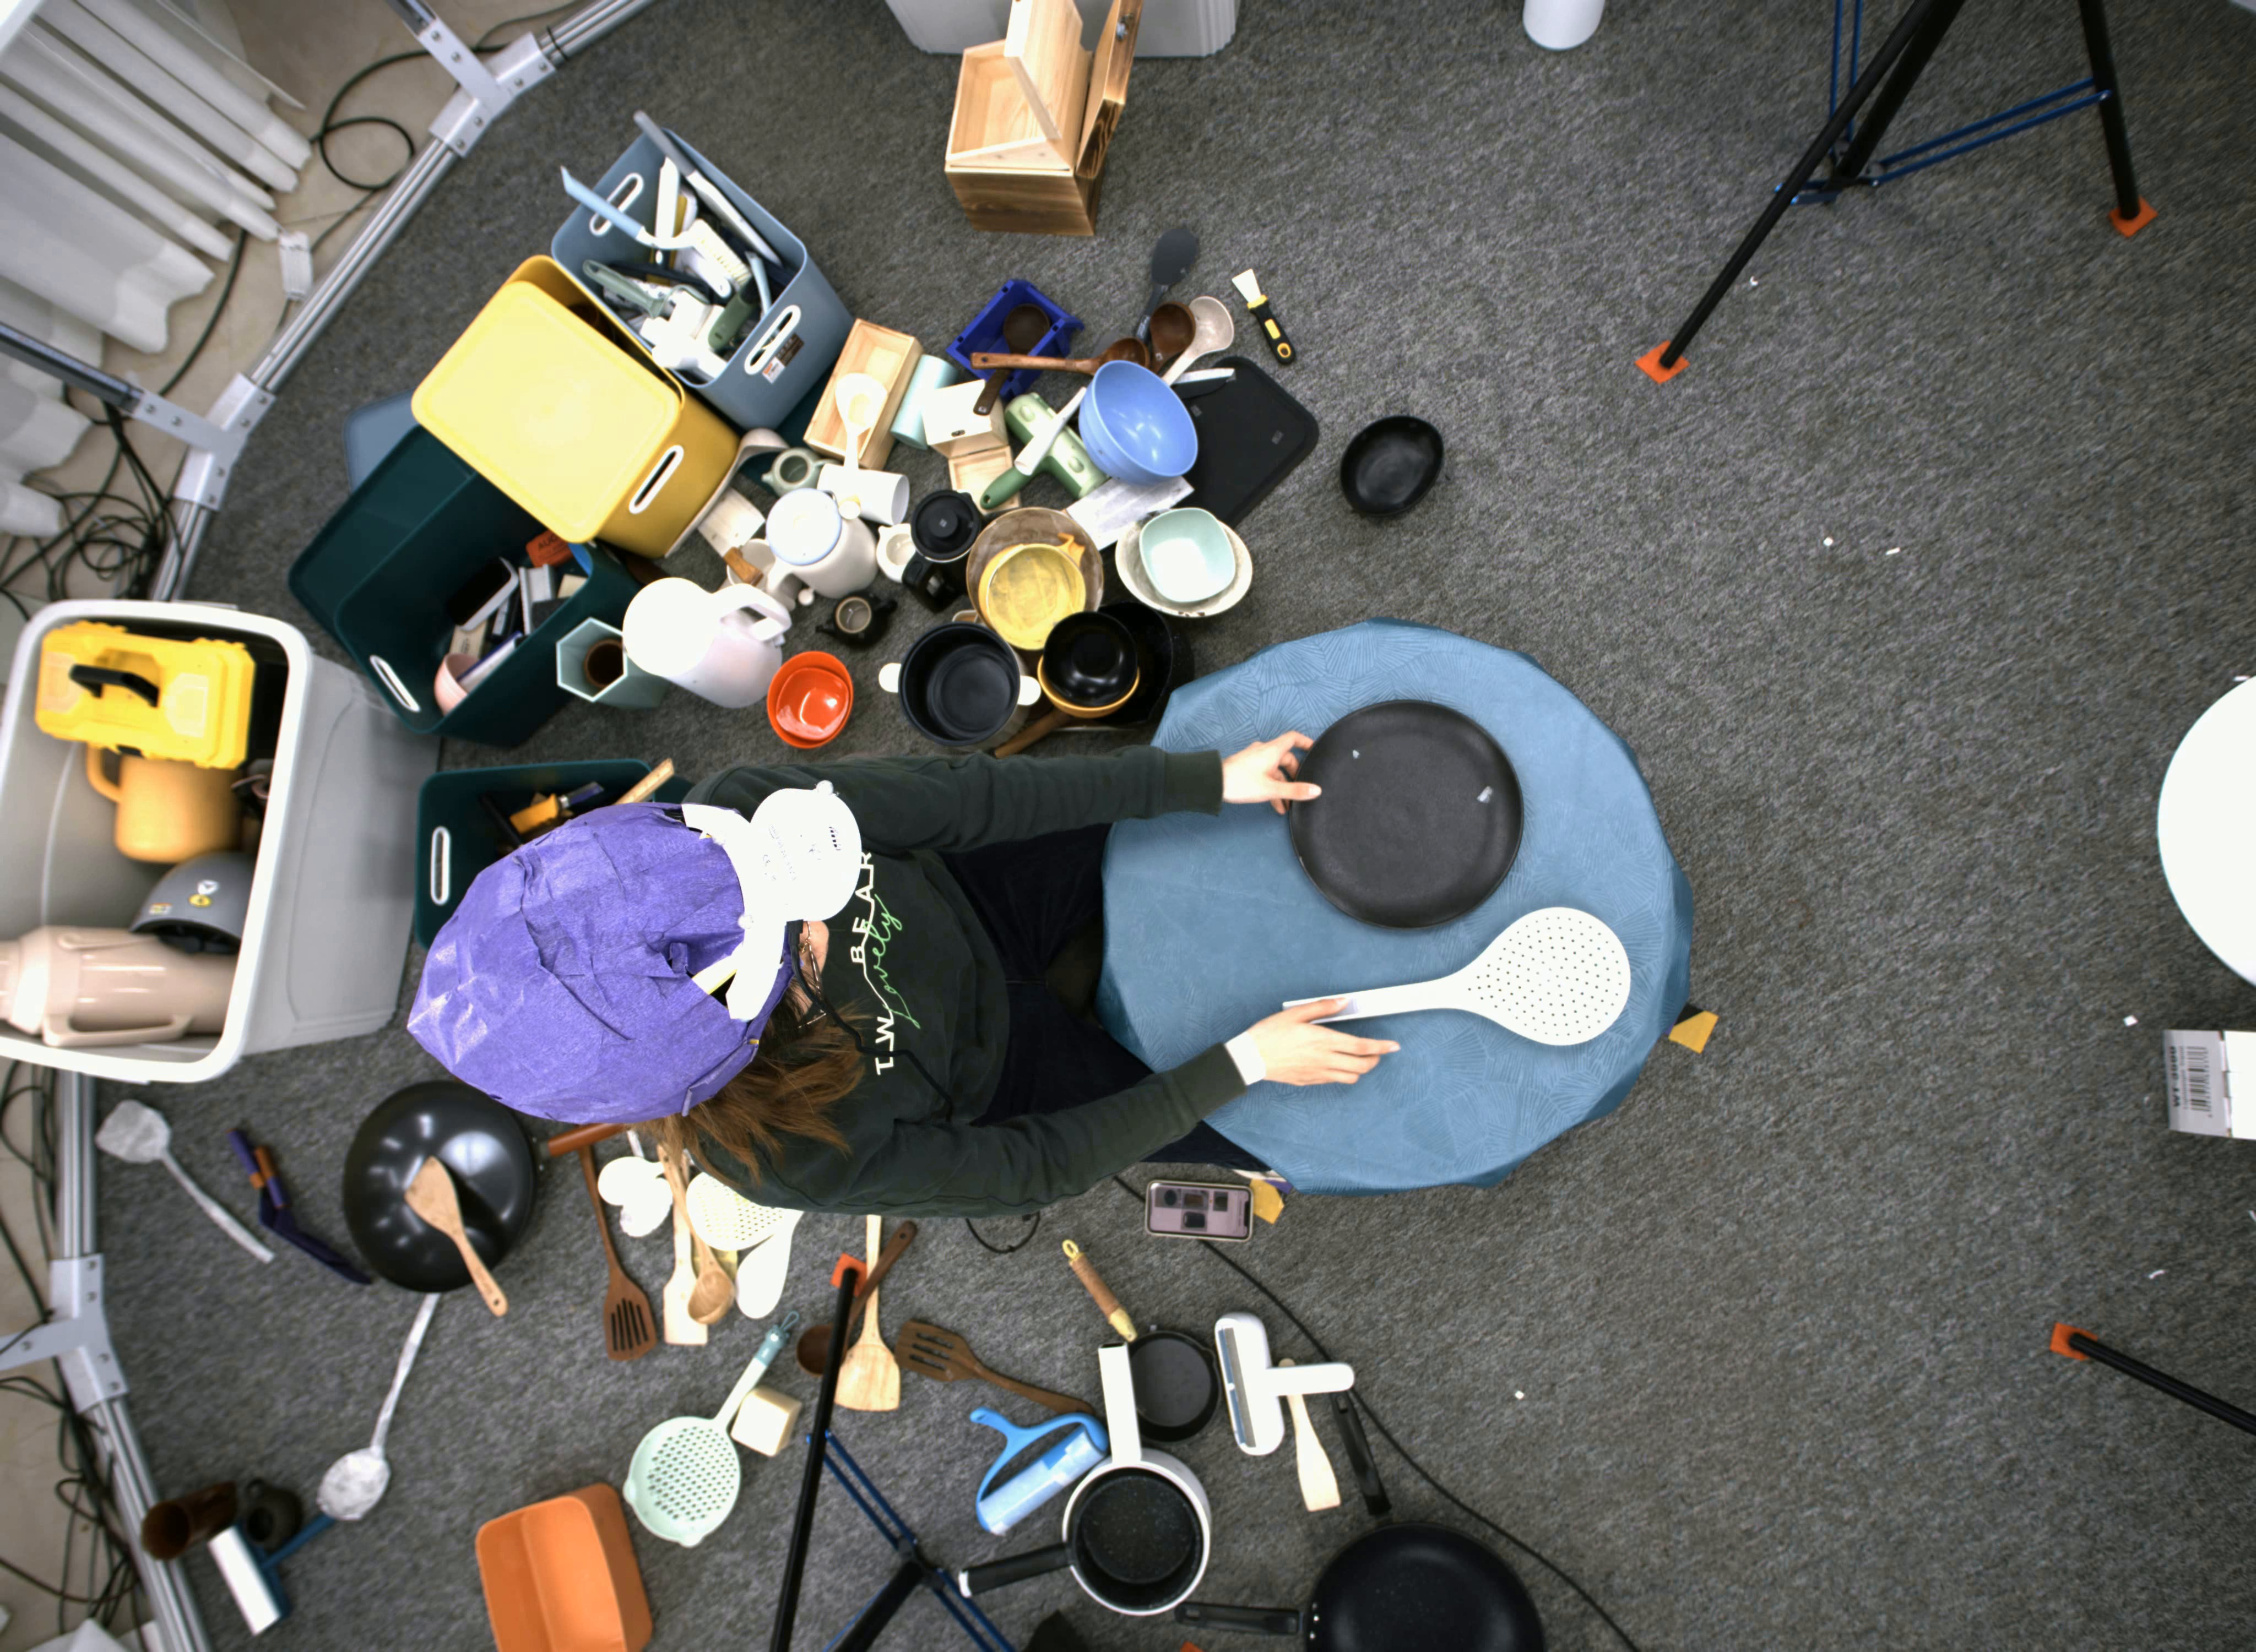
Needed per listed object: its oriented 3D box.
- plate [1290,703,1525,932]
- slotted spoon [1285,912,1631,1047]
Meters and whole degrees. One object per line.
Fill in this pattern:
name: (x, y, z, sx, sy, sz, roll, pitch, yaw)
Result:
plate: (0.294, -0.010, 1.454, 0.245, 0.023, 0.243, -1, 86, 10)
slotted spoon: (0.335, 0.172, 1.423, 0.351, 0.046, 0.135, -9, 82, 10)
